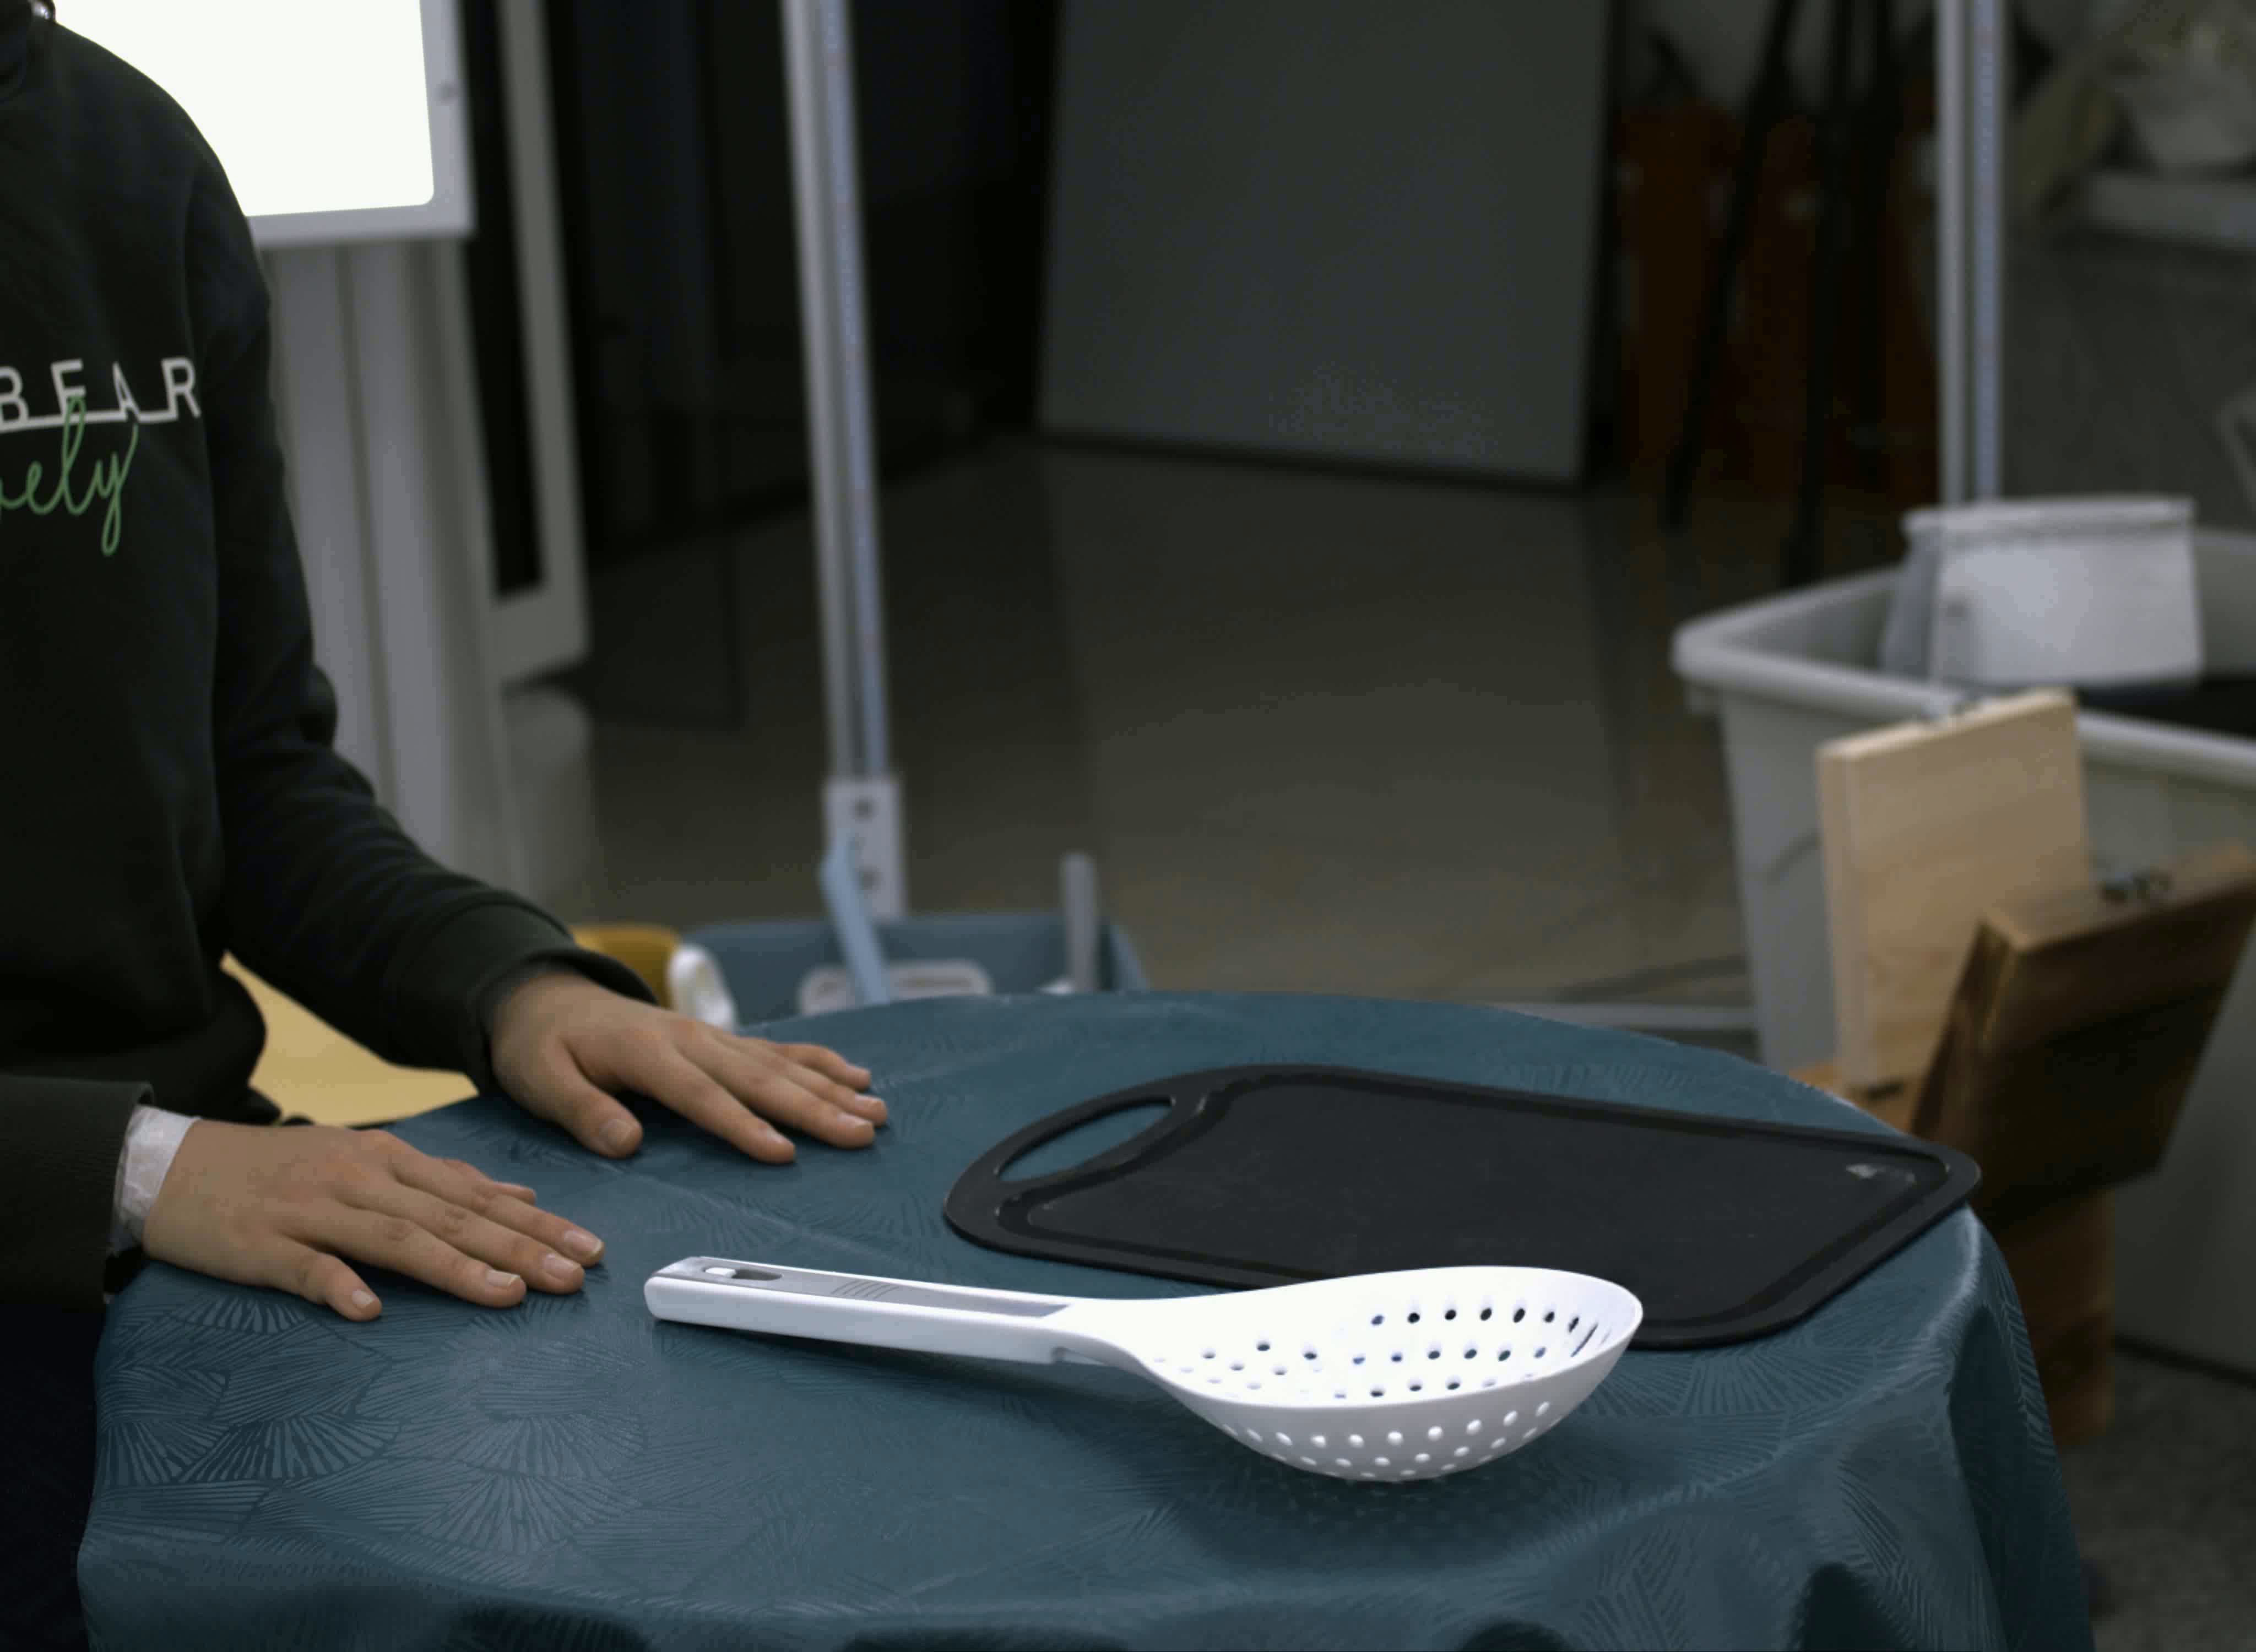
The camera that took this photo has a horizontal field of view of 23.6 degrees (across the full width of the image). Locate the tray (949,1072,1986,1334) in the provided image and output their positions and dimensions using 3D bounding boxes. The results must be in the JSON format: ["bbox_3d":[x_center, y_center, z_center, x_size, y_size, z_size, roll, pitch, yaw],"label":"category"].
[{"bbox_3d":[0.101,0.117,1.742,0.327,0.010,0.207,5,16,34],"label":"tray"}]

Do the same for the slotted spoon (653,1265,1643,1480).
[{"bbox_3d":[-0.006,0.147,1.571,0.352,0.046,0.133,6,15,39],"label":"slotted spoon"}]
